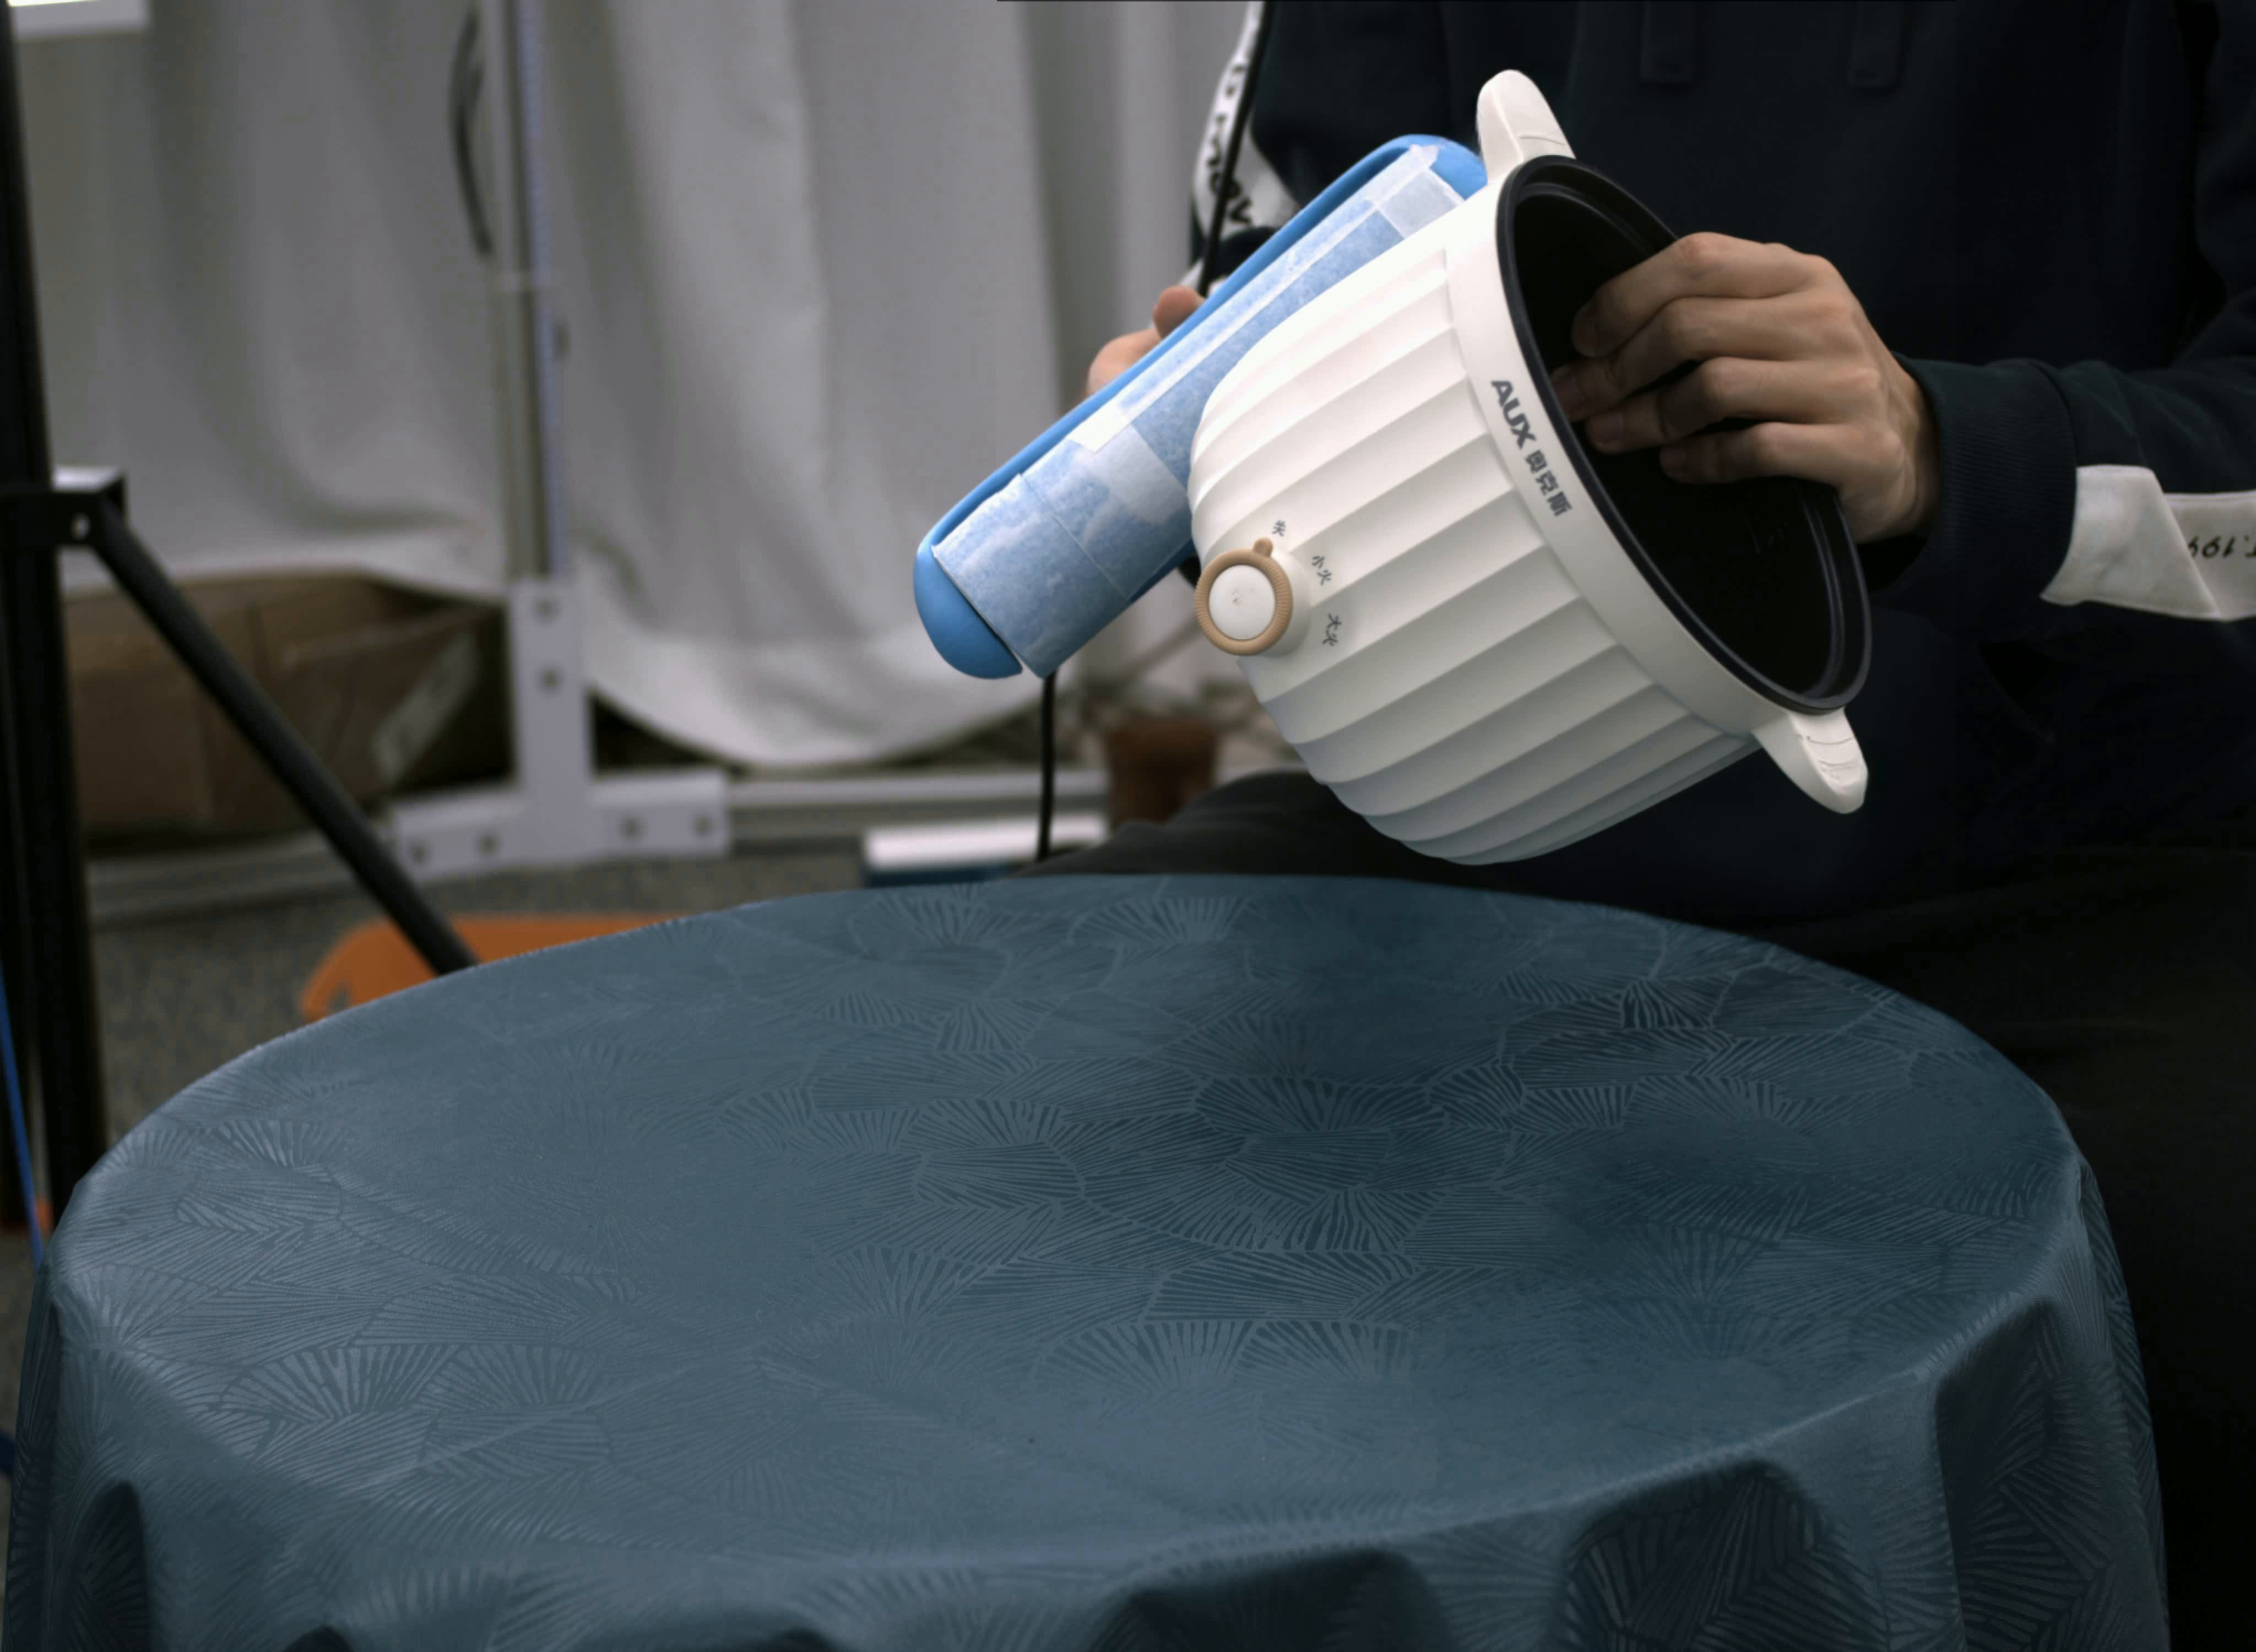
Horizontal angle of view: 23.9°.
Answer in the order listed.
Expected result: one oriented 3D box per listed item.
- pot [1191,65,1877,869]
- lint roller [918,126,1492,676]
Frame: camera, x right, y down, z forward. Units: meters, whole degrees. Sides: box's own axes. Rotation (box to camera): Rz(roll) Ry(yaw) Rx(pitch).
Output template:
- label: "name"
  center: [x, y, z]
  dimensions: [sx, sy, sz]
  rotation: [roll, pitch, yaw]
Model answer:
- label: "pot"
  center: [0.109, -0.082, 1.541]
  dimensions: [0.144, 0.243, 0.186]
  rotation: [-31, -13, 24]
- label: "lint roller"
  center: [0.029, -0.129, 1.699]
  dimensions: [0.229, 0.068, 0.180]
  rotation: [-42, 0, 0]
